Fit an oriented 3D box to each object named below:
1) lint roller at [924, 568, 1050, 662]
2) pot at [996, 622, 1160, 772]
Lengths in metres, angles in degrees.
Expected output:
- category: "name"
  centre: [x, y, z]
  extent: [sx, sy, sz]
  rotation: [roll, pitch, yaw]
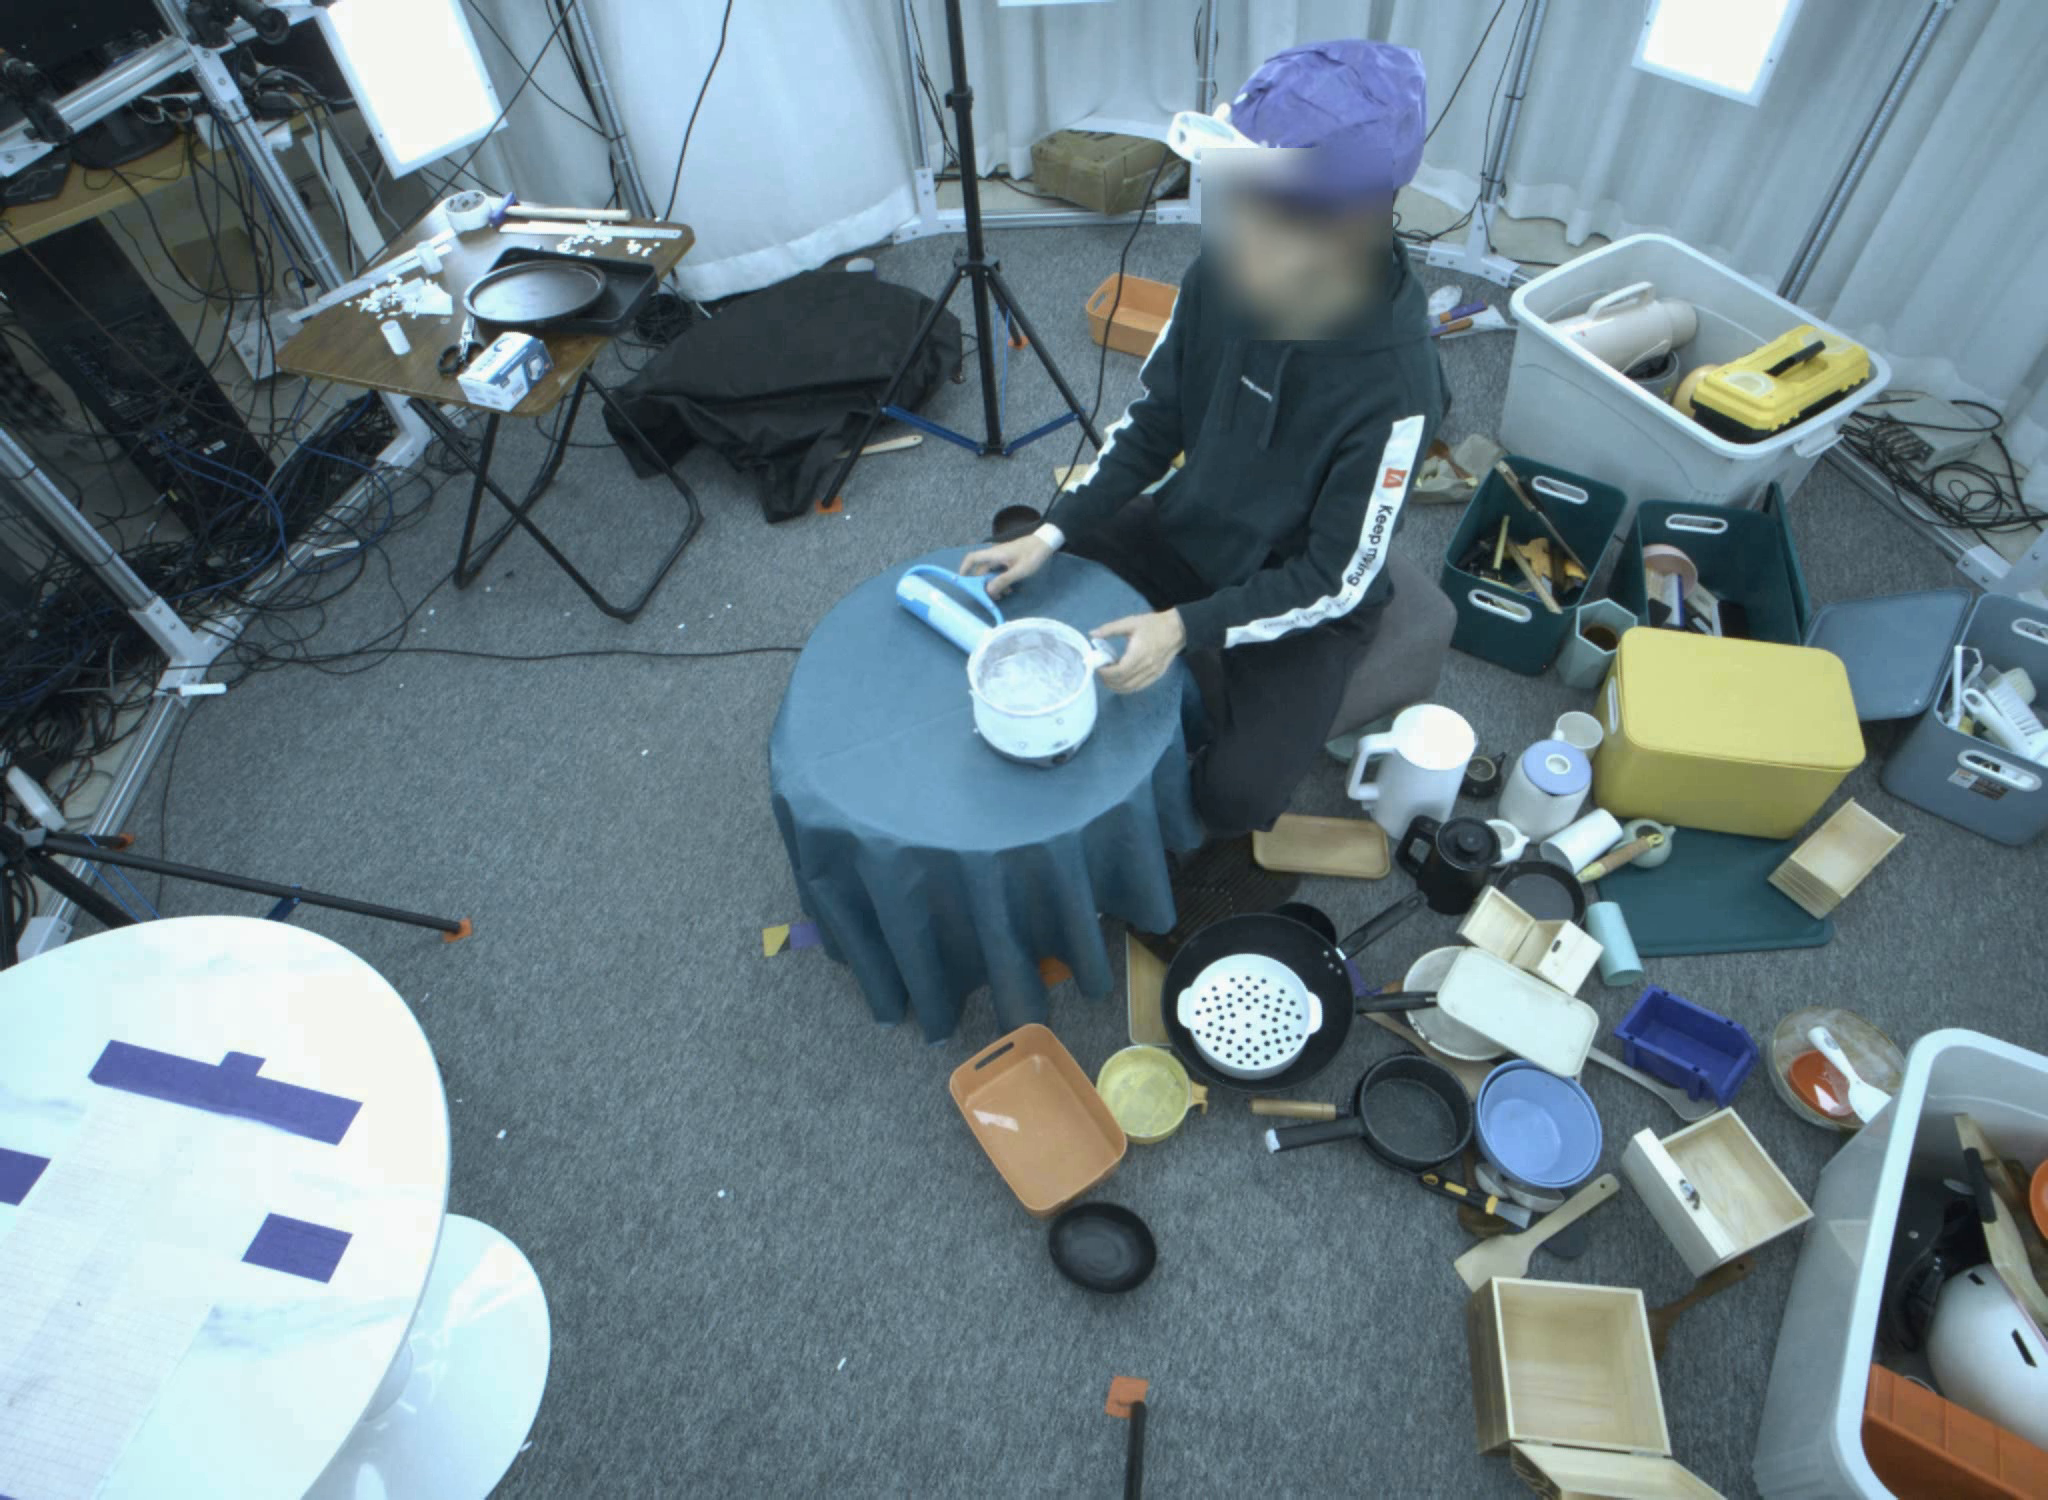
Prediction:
- category: "lint roller"
  centre: [-0.030, -0.236, 1.917]
  extent: [0.225, 0.069, 0.181]
  rotation: [35, 64, 25]
- category: "pot"
  centre: [0.081, -0.084, 1.752]
  extent: [0.235, 0.138, 0.175]
  rotation: [-20, 56, -9]
